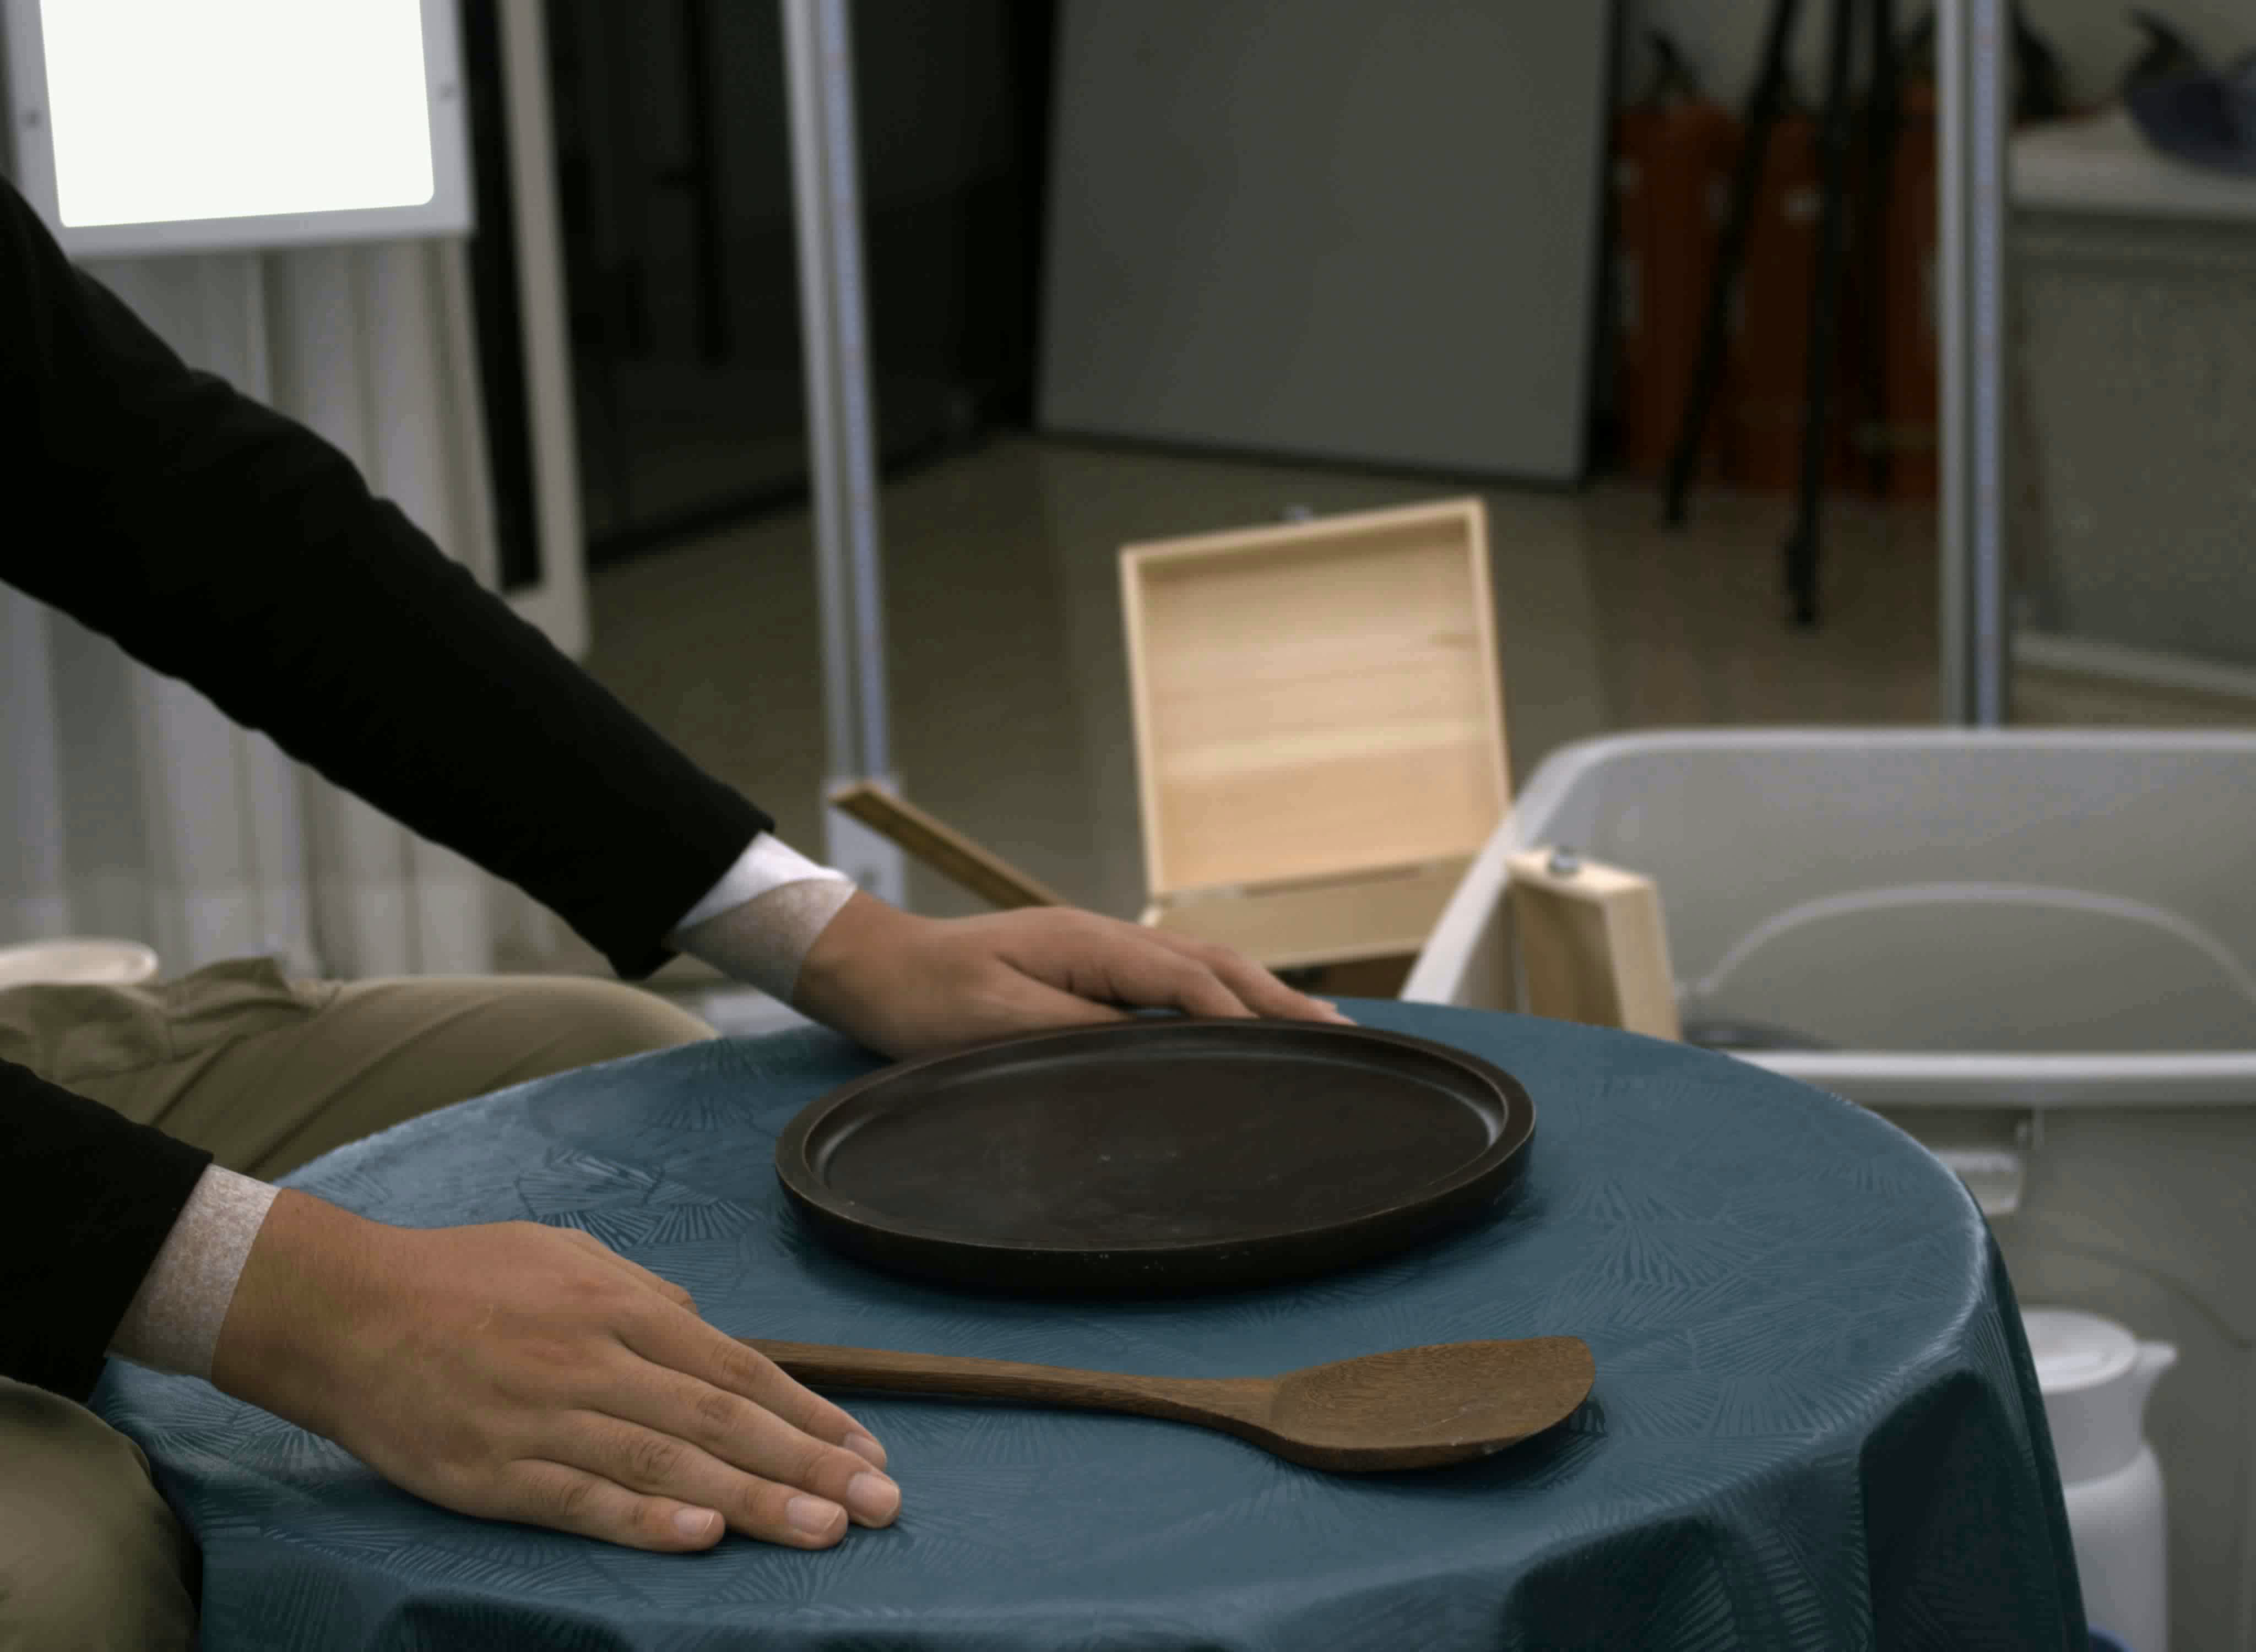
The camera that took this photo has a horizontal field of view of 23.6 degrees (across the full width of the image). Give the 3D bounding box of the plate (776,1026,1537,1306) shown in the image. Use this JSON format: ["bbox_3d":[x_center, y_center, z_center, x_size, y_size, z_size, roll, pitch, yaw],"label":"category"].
[{"bbox_3d":[0.010,0.108,1.768,0.251,0.029,0.255,-5,15,0],"label":"plate"}]

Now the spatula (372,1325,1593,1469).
[{"bbox_3d":[-0.051,0.162,1.586,0.385,0.016,0.095,1,14,21],"label":"spatula"}]
